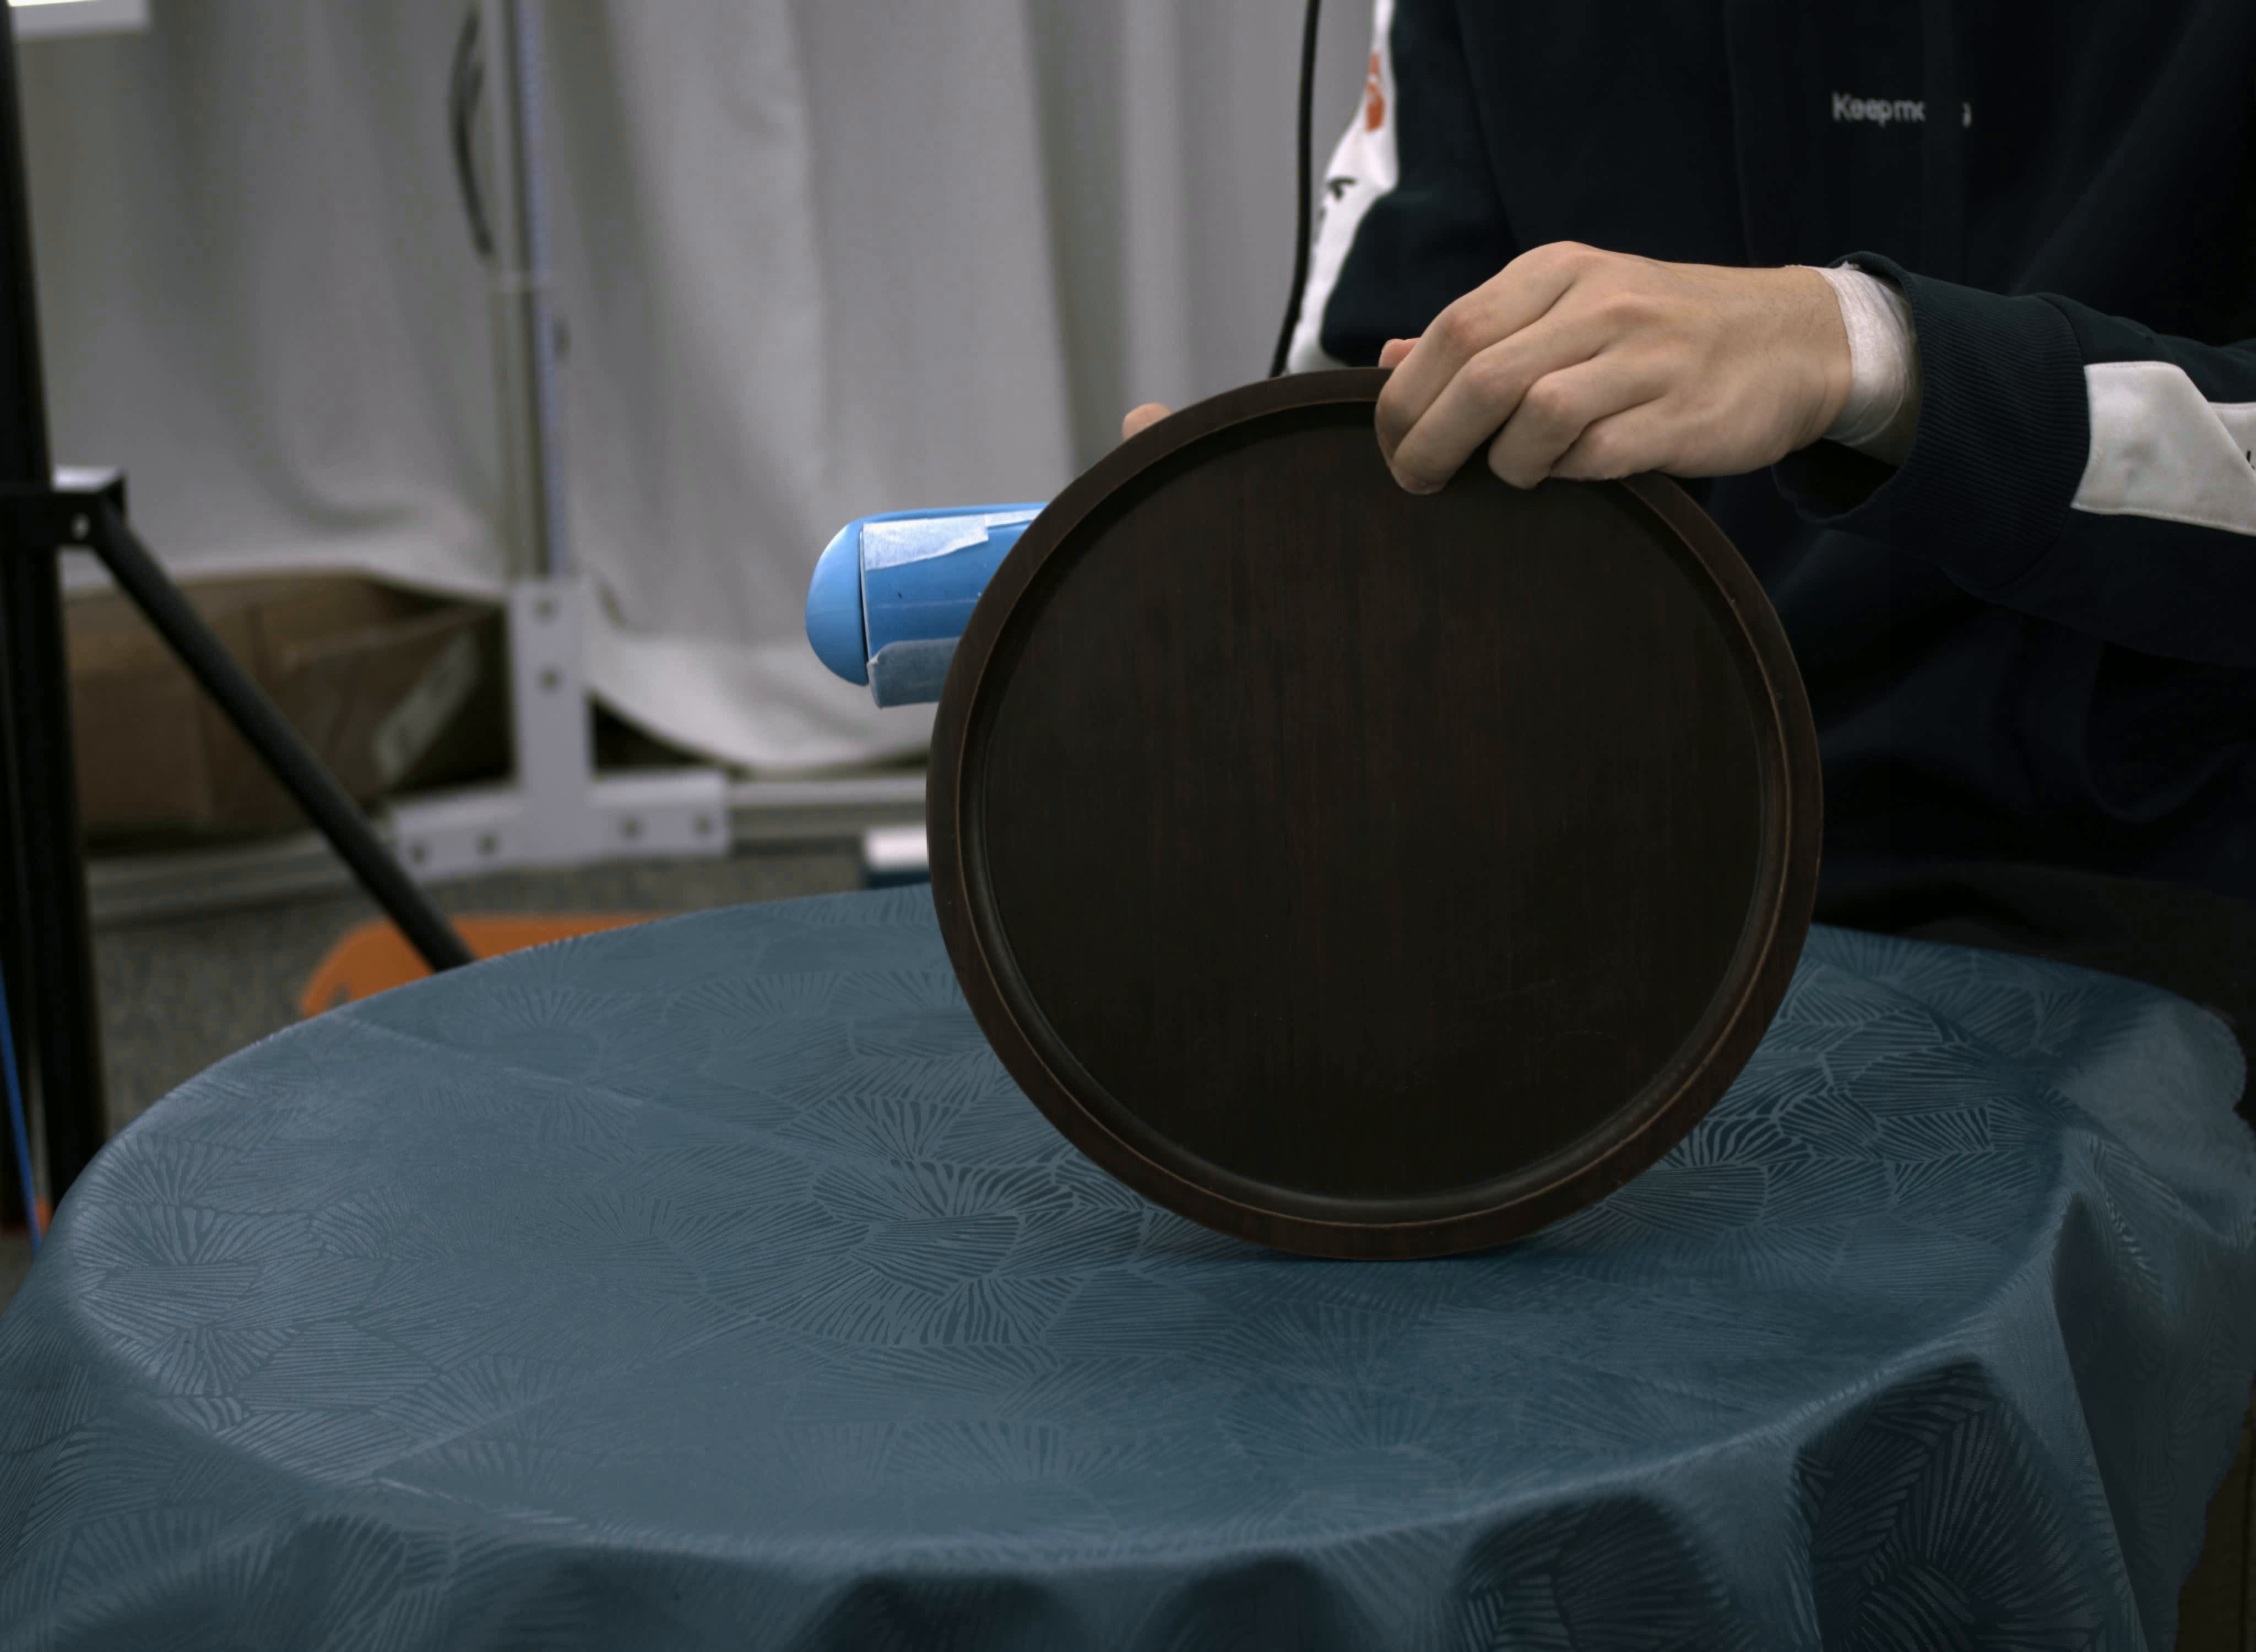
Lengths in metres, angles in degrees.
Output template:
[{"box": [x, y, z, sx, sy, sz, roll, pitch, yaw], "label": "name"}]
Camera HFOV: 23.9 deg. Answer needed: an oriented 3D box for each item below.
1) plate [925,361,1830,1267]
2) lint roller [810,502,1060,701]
[{"box": [0.069, -0.003, 1.489, 0.254, 0.255, 0.029, -1, 5, 5], "label": "plate"}, {"box": [0.019, -0.067, 1.604, 0.228, 0.068, 0.180, -6, -4, -1], "label": "lint roller"}]
